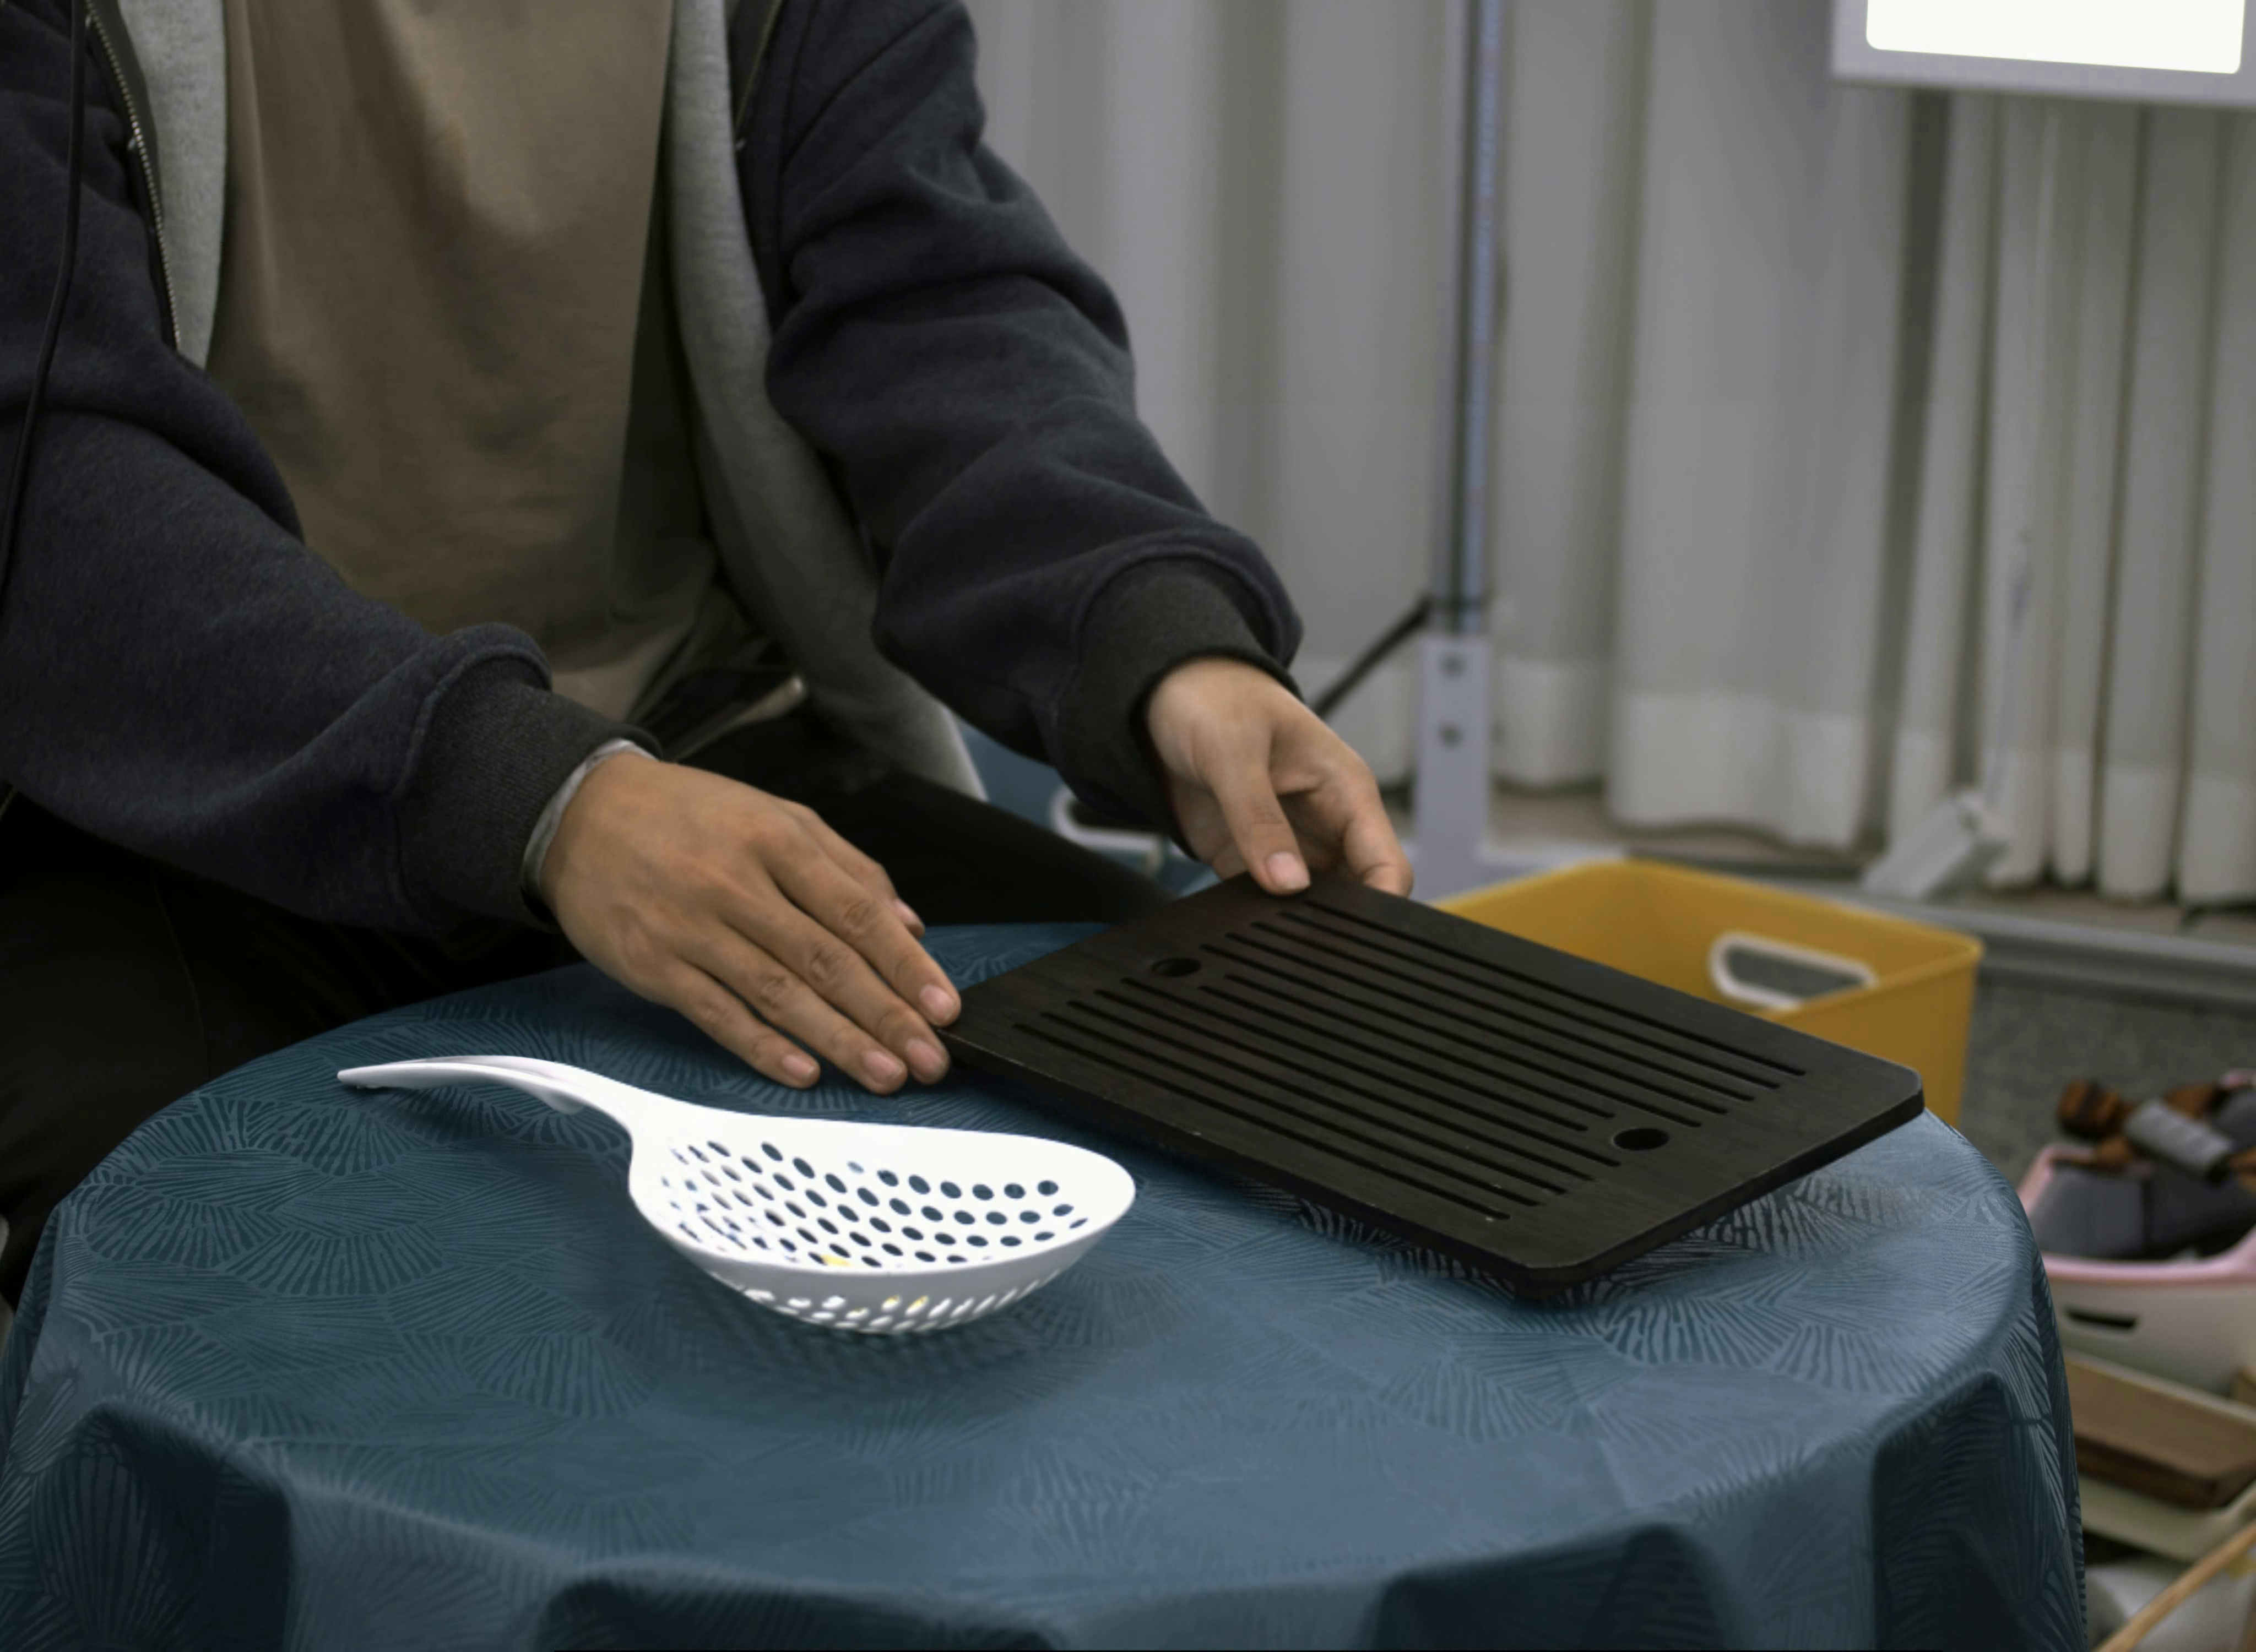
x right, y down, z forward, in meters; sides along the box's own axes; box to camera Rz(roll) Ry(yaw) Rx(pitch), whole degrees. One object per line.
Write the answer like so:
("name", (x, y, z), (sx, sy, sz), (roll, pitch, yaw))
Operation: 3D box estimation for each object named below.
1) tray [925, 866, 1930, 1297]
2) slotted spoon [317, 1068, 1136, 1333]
("tray", (0.090, 0.077, 1.673), (0.170, 0.019, 0.302), (-22, 27, -36))
("slotted spoon", (-0.139, 0.099, 1.587), (0.137, 0.051, 0.343), (-15, 22, -39))
